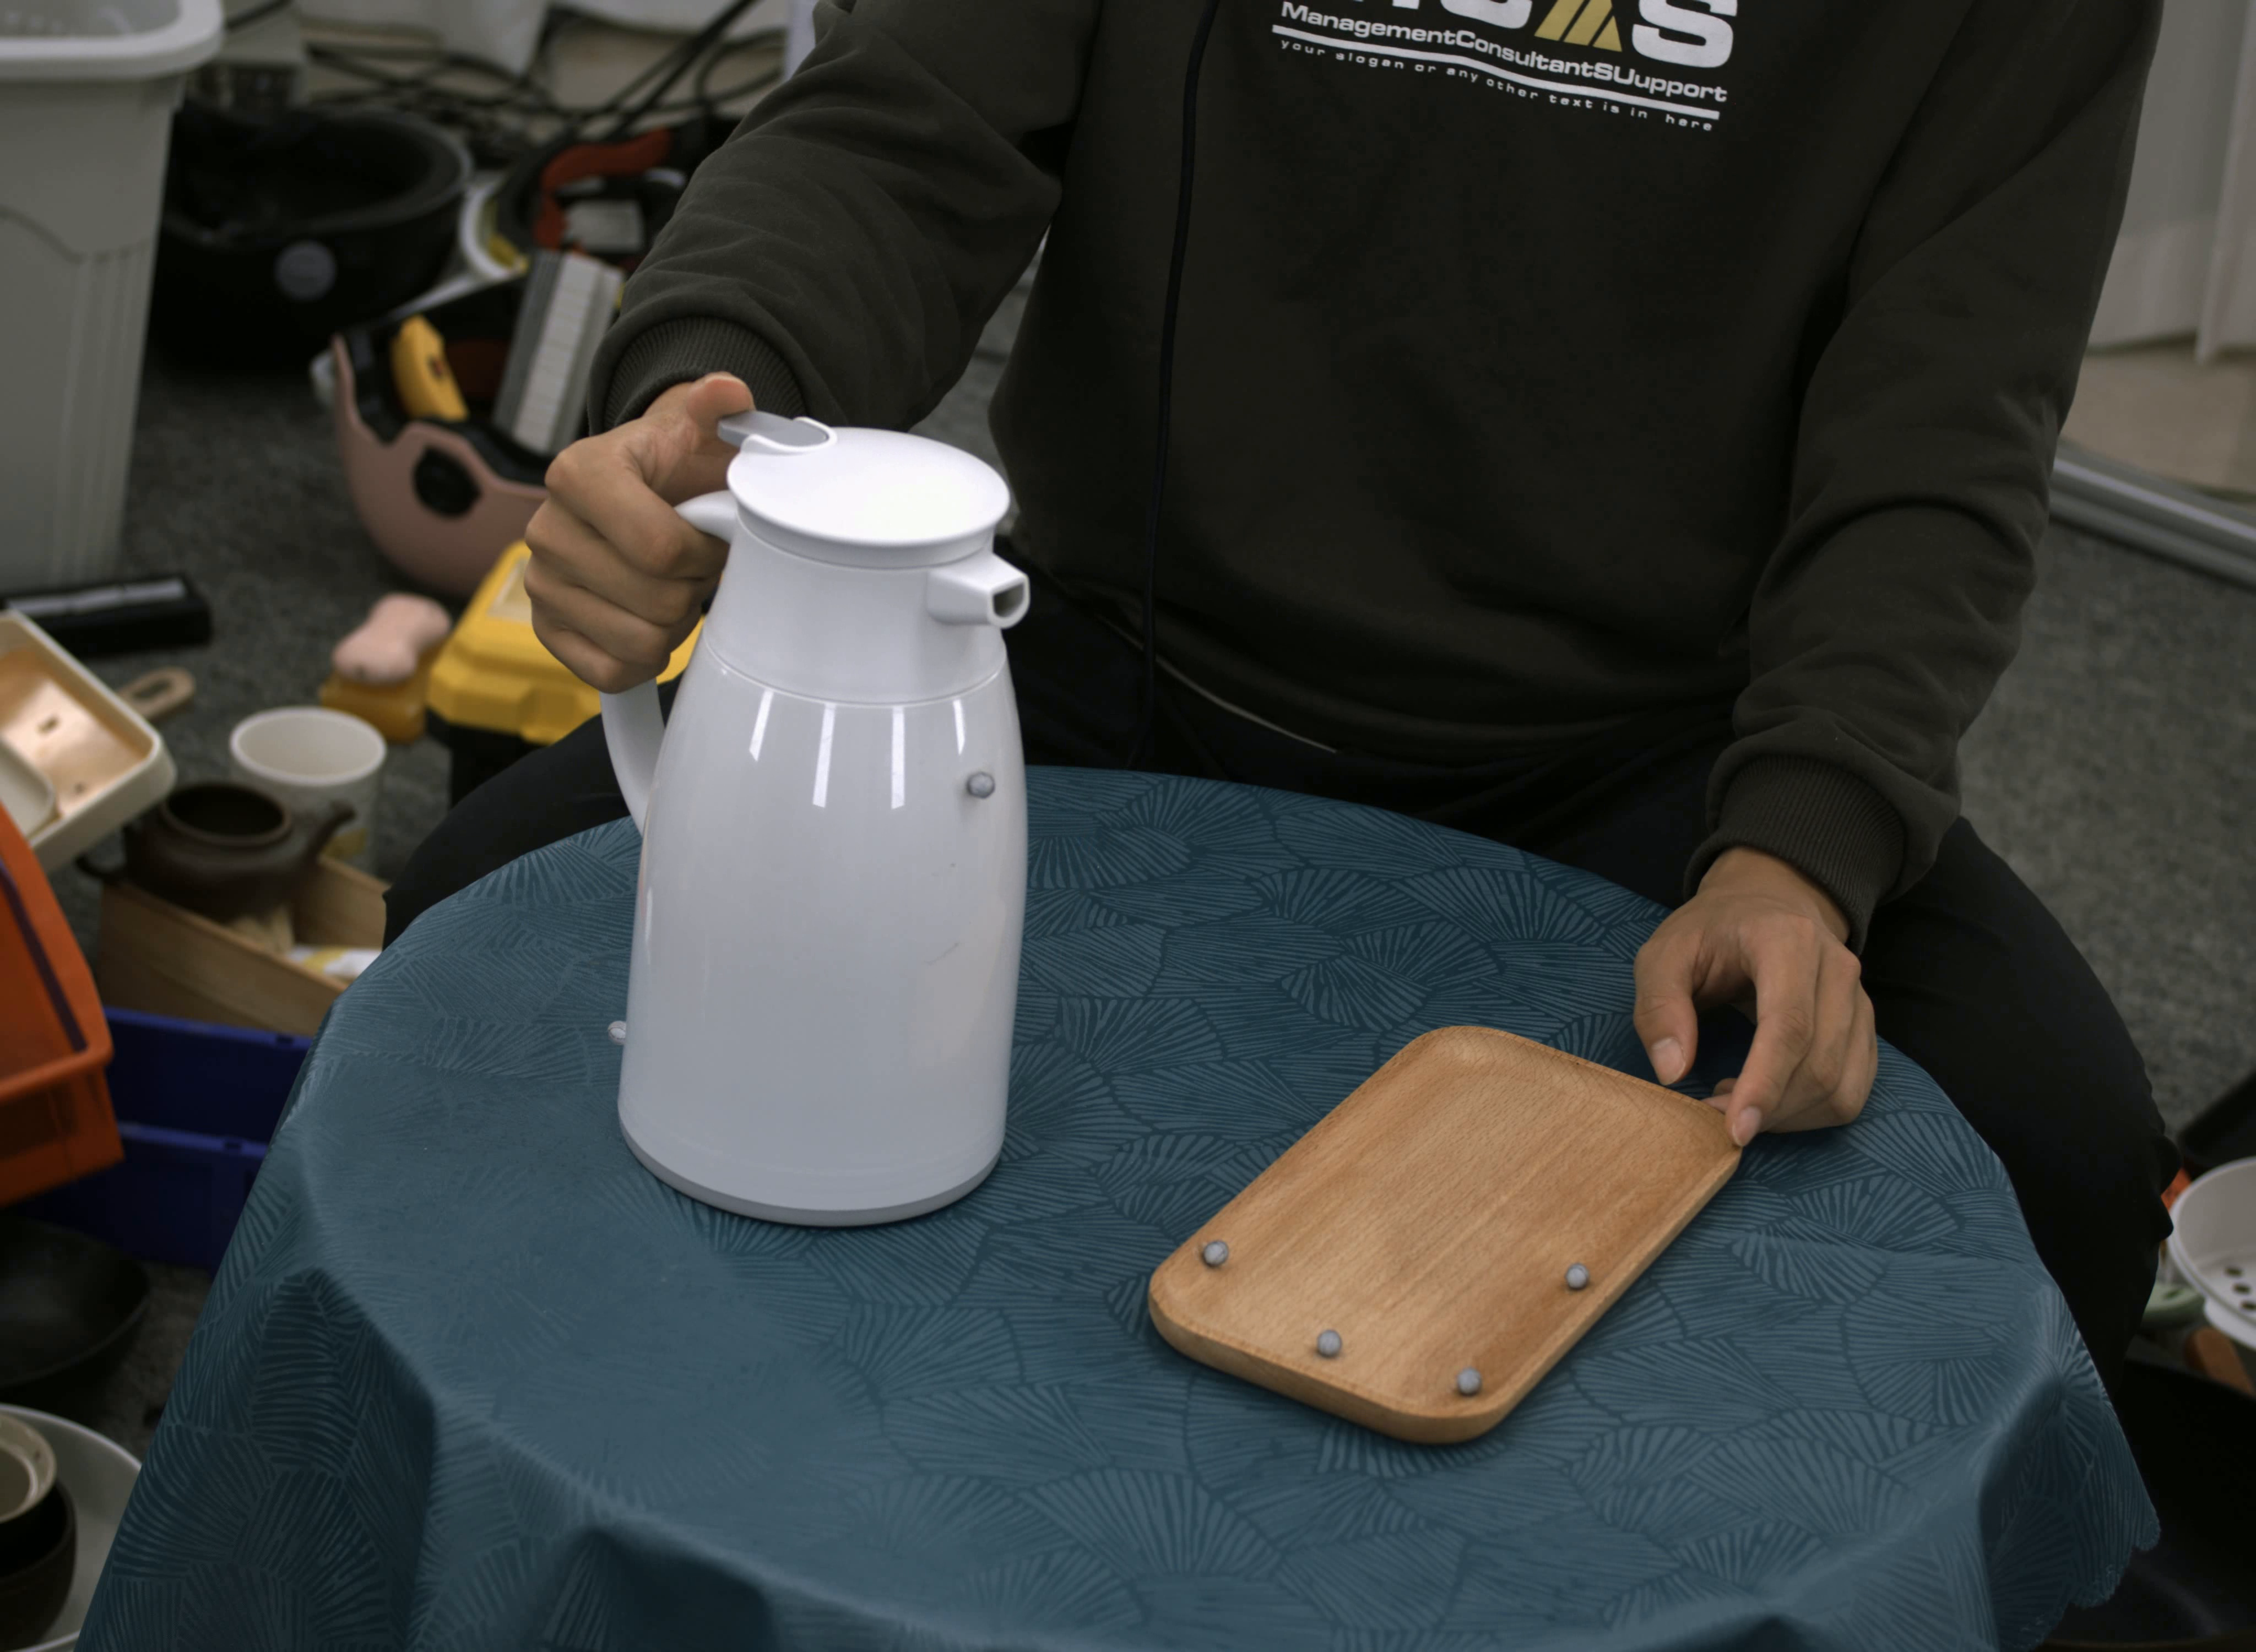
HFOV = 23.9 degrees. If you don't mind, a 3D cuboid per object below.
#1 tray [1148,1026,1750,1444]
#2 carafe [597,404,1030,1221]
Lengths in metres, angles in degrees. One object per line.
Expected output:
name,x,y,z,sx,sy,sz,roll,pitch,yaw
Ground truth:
tray,0.111,0.135,1.793,0.131,0.023,0.250,22,29,22
carafe,-0.111,-0.014,1.774,0.169,0.248,0.132,23,31,31
